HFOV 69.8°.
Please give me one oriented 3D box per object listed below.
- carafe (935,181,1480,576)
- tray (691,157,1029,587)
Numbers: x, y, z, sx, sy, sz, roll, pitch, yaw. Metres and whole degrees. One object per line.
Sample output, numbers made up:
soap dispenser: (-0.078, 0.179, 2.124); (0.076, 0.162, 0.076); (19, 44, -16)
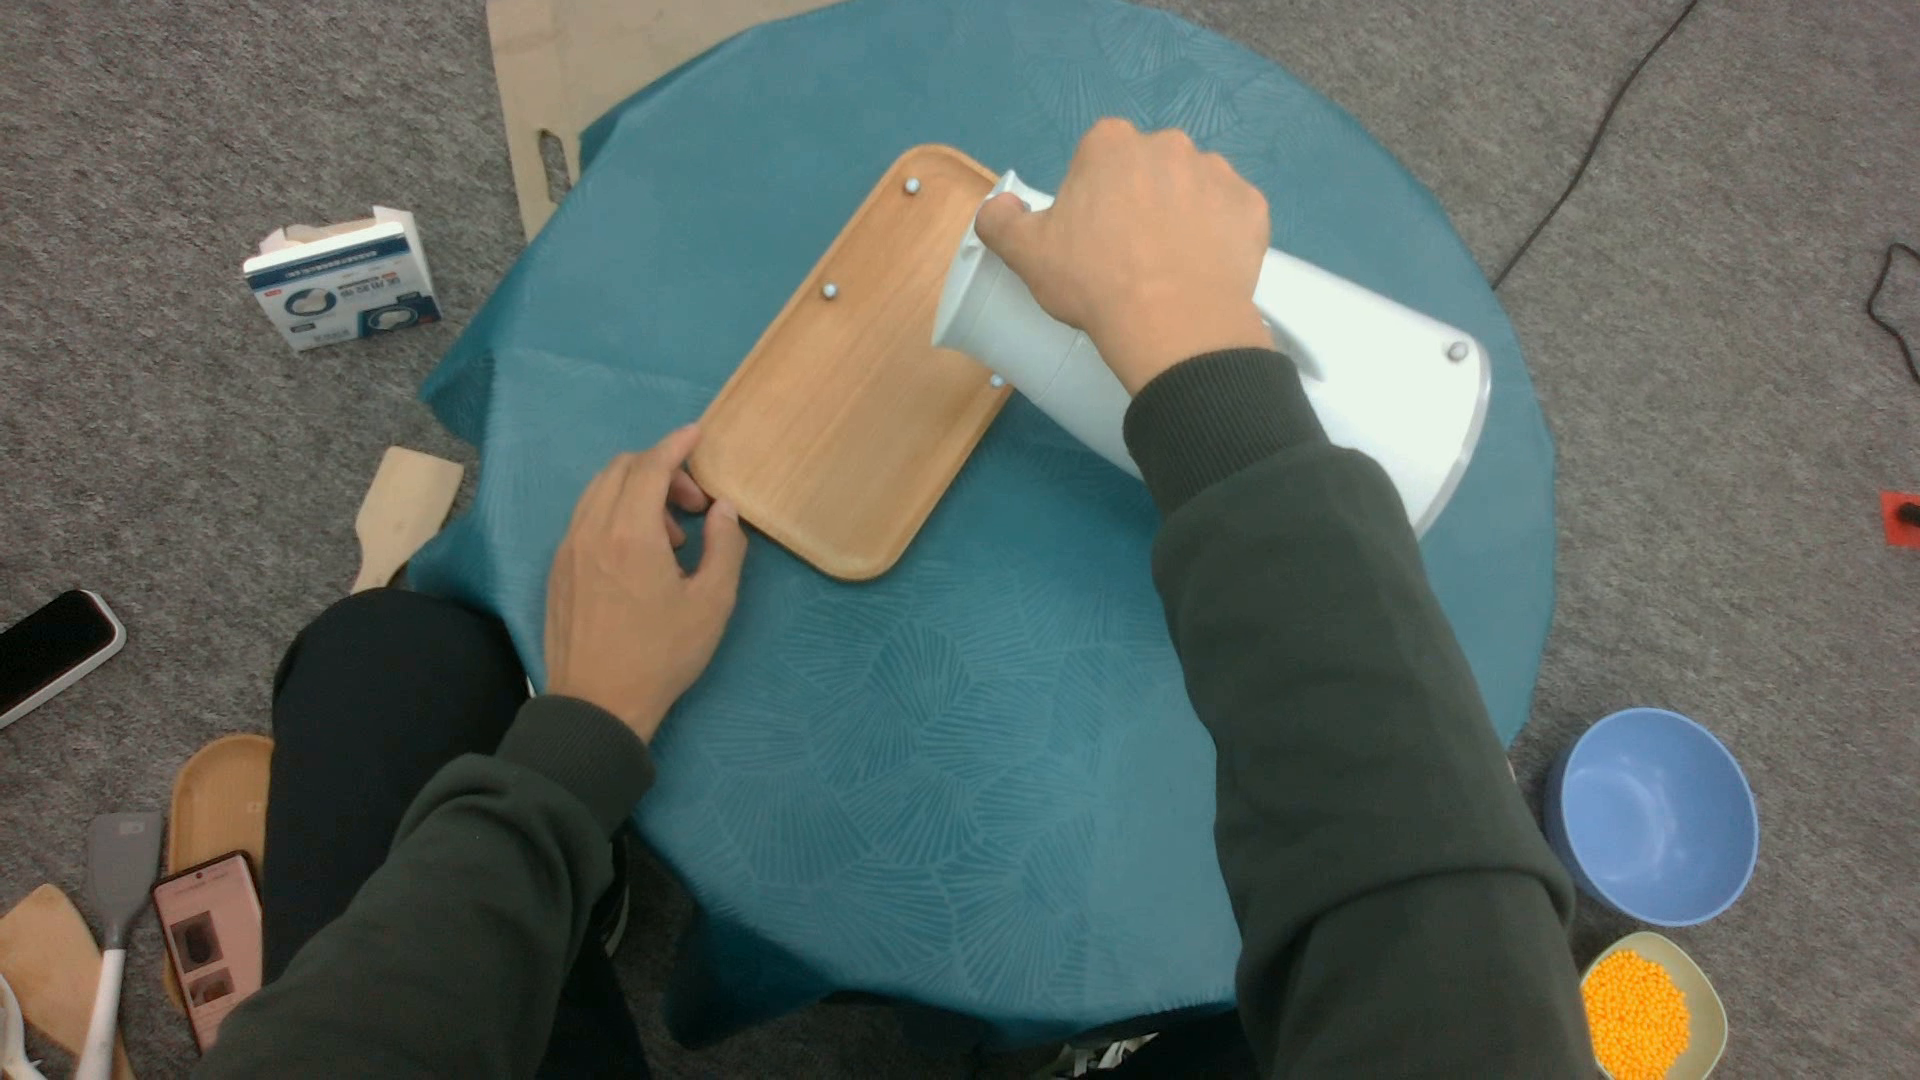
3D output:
carafe: (0.117, -0.094, 0.669); (0.248, 0.167, 0.133); (23, 74, -6)
tray: (-0.034, -0.097, 0.764); (0.130, 0.023, 0.251); (33, 72, 4)
